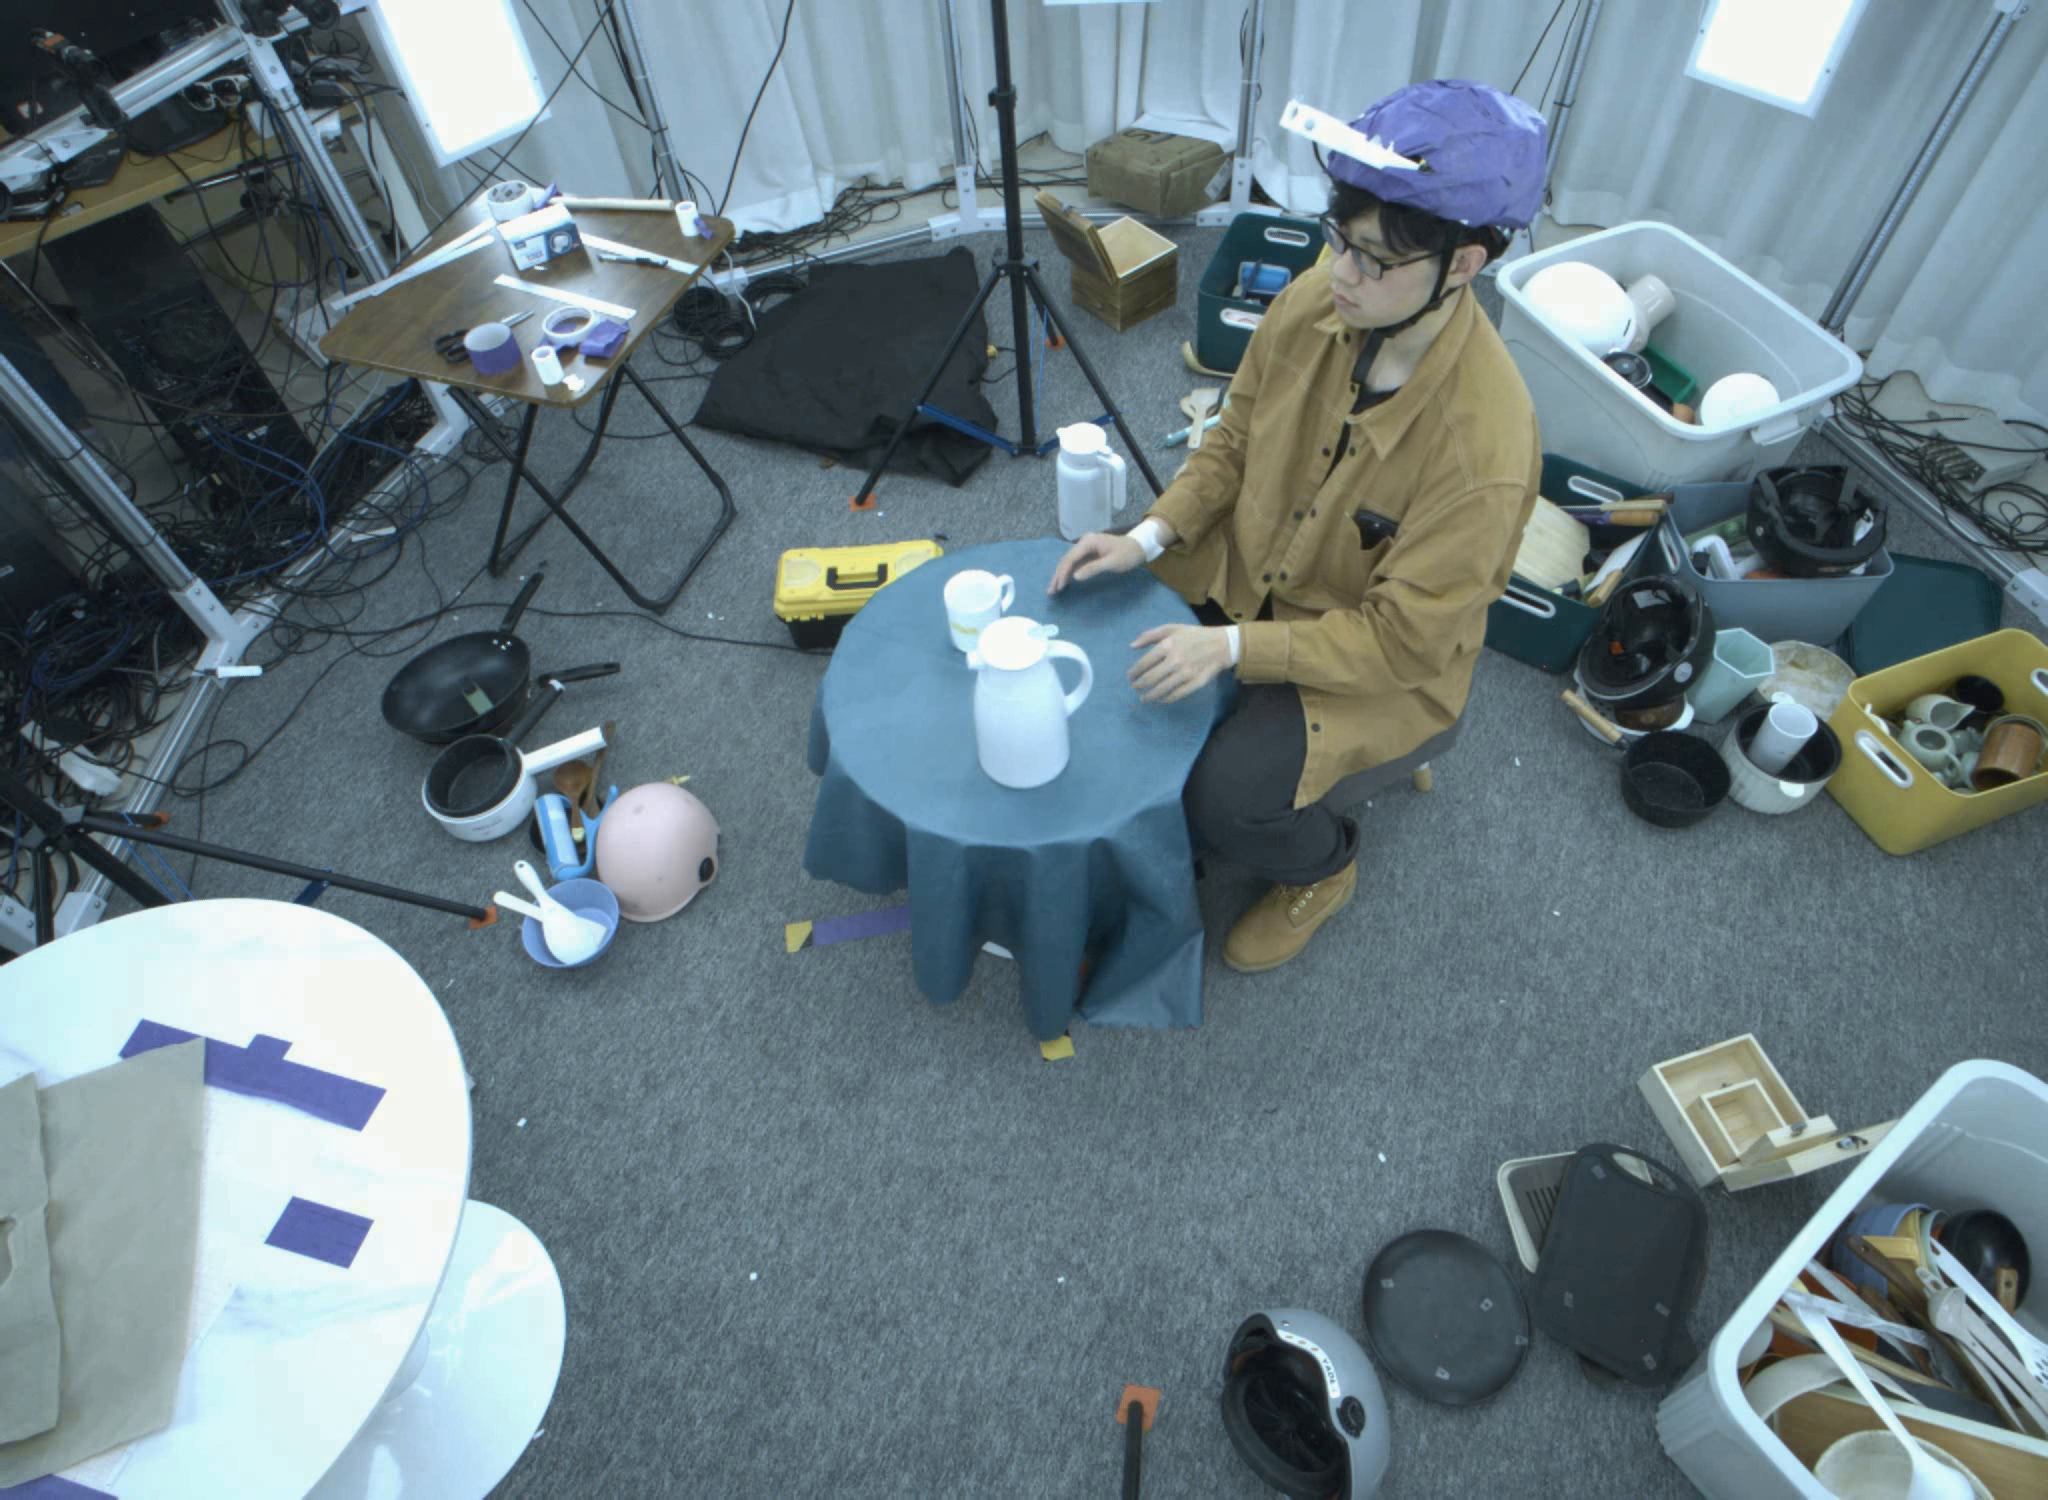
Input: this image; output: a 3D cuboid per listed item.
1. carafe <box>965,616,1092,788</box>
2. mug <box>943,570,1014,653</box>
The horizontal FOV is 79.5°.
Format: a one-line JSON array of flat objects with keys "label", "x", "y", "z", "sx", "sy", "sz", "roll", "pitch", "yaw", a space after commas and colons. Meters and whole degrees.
[{"label": "carafe", "x": 0.010, "y": -0.076, "z": 1.684, "sx": 0.168, "sy": 0.251, "sz": 0.130, "roll": -14, "pitch": 54, "yaw": -7}, {"label": "mug", "x": -0.065, "y": -0.219, "z": 1.877, "sx": 0.119, "sy": 0.103, "sz": 0.083, "roll": -38, "pitch": 61, "yaw": -22}]
